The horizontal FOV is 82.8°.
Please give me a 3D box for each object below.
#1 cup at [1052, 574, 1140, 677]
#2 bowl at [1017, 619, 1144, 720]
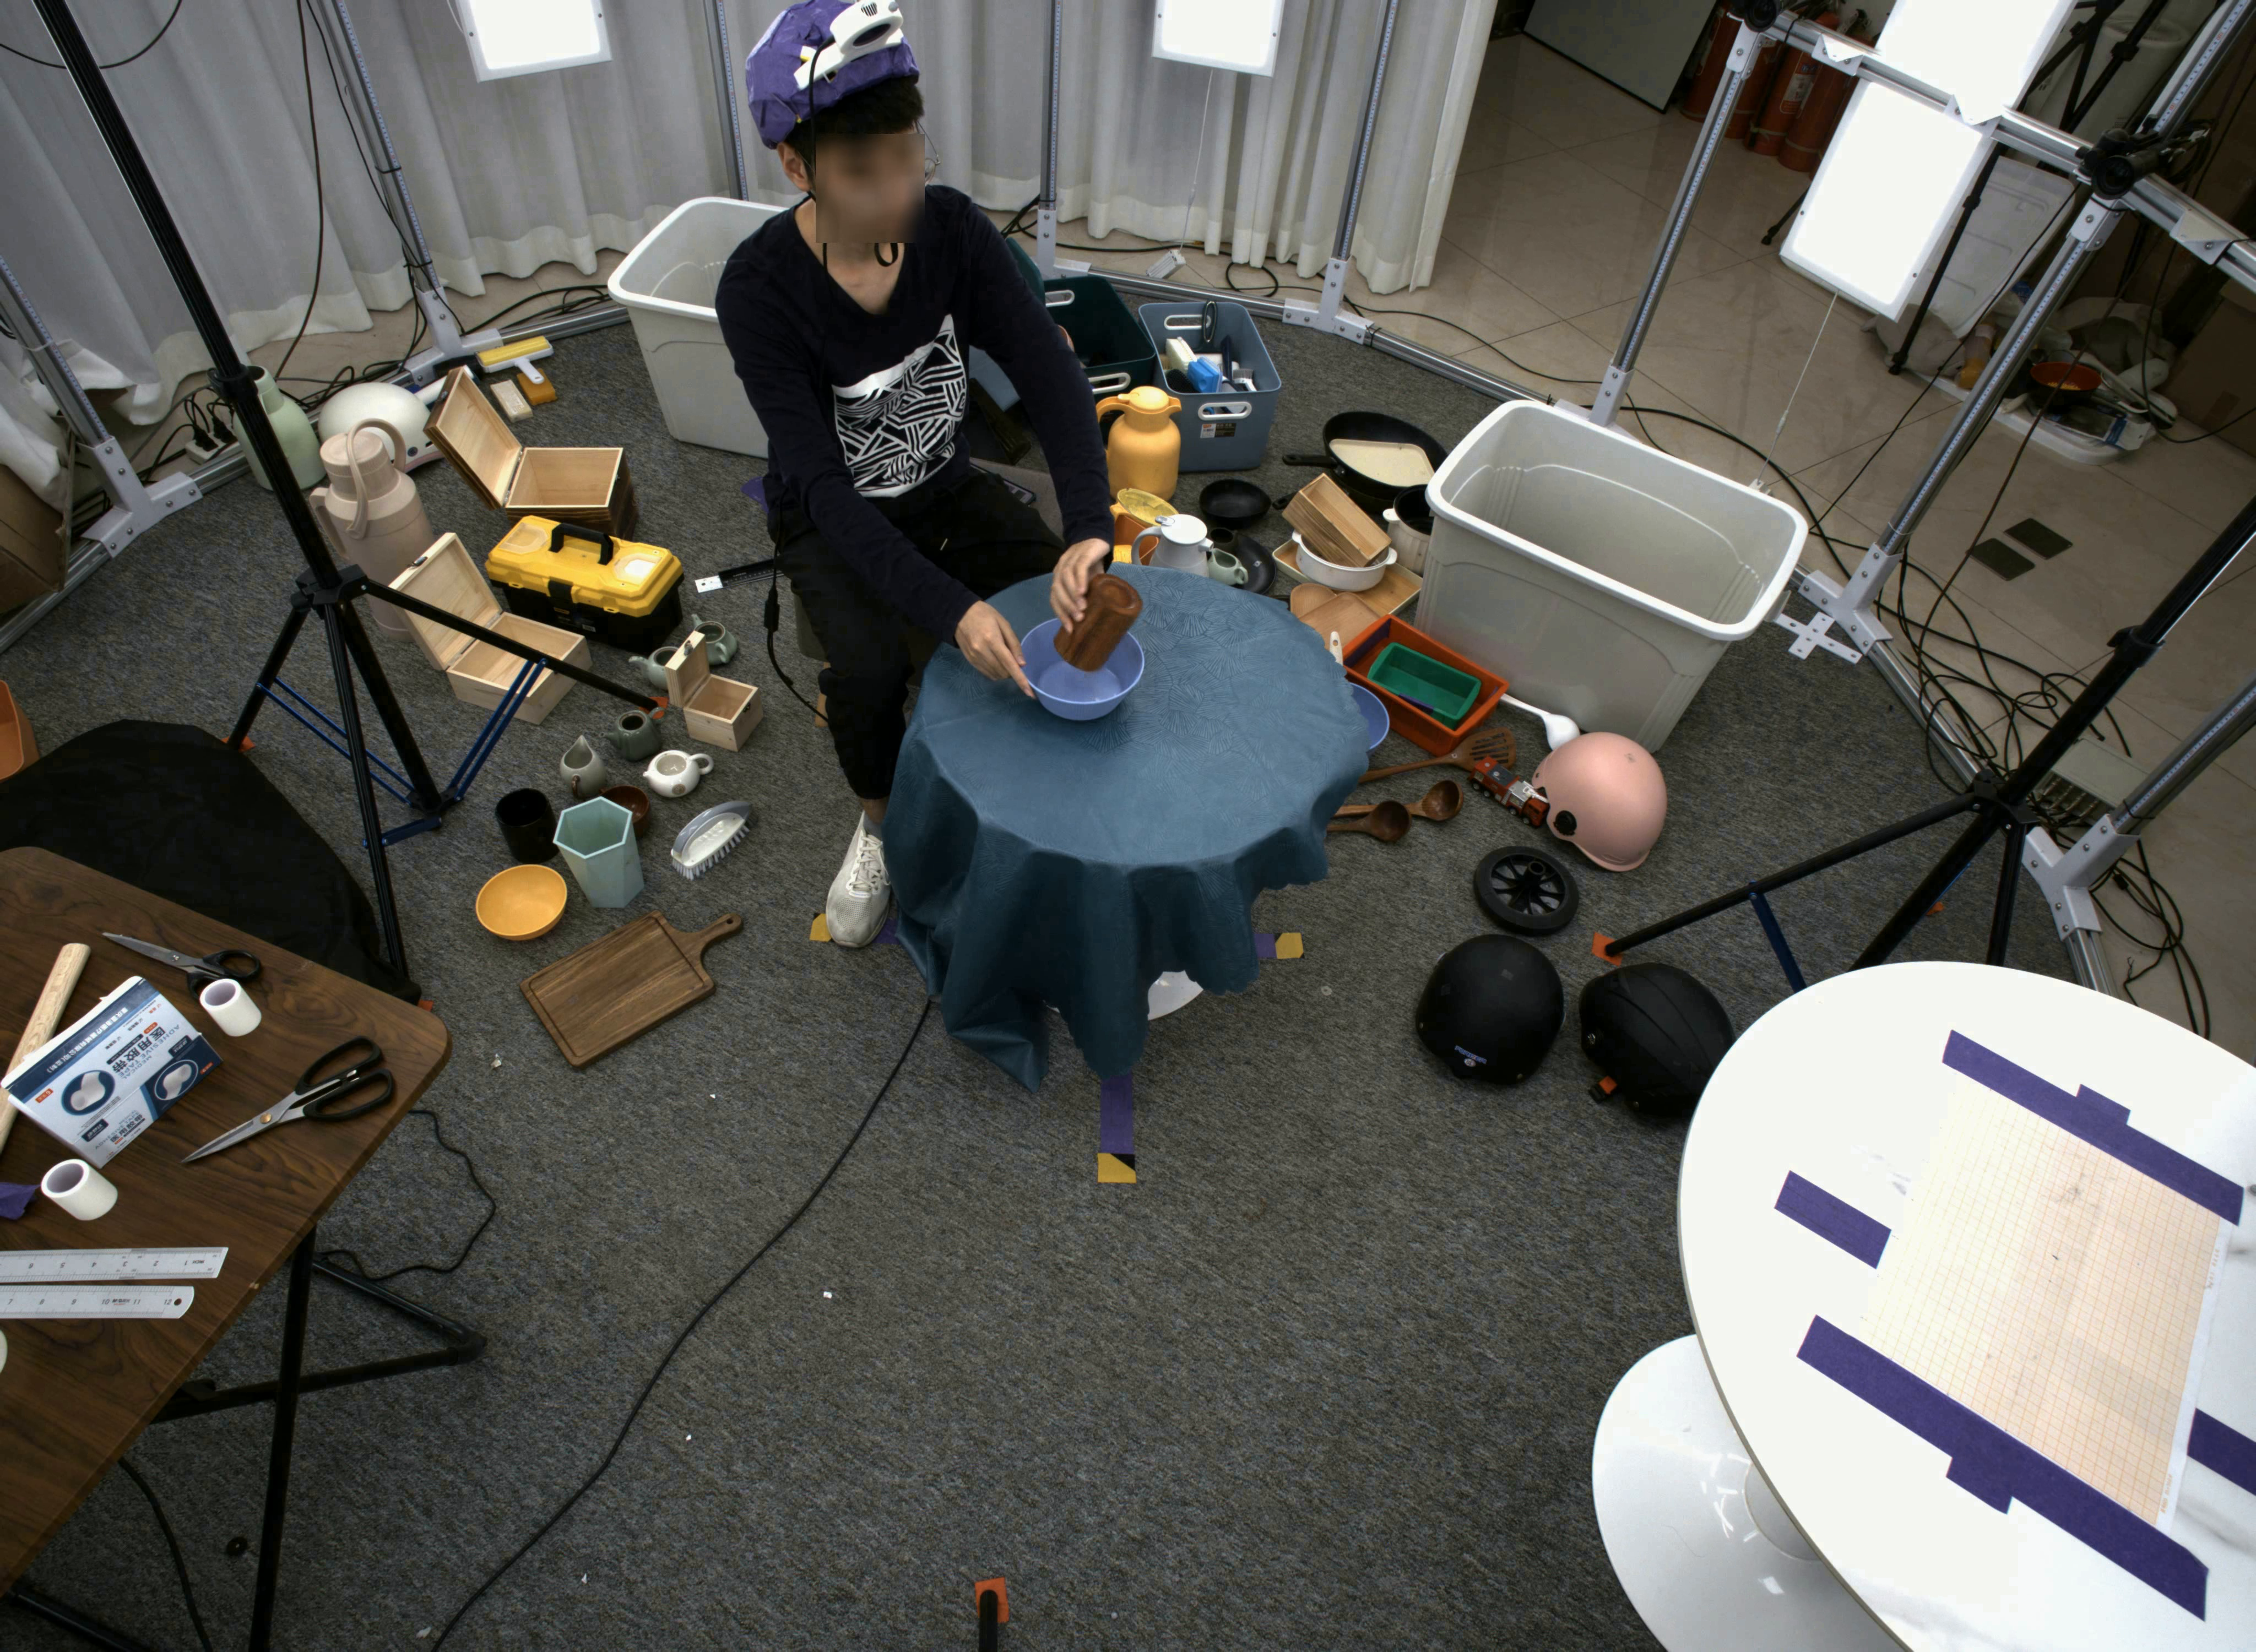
[{"bbox_3d":[-0.043,-0.271,1.743,0.087,0.116,0.090,18,44,-18],"label":"cup"},{"bbox_3d":[-0.067,-0.211,1.802,0.176,0.068,0.180,2,48,-2],"label":"bowl"}]
